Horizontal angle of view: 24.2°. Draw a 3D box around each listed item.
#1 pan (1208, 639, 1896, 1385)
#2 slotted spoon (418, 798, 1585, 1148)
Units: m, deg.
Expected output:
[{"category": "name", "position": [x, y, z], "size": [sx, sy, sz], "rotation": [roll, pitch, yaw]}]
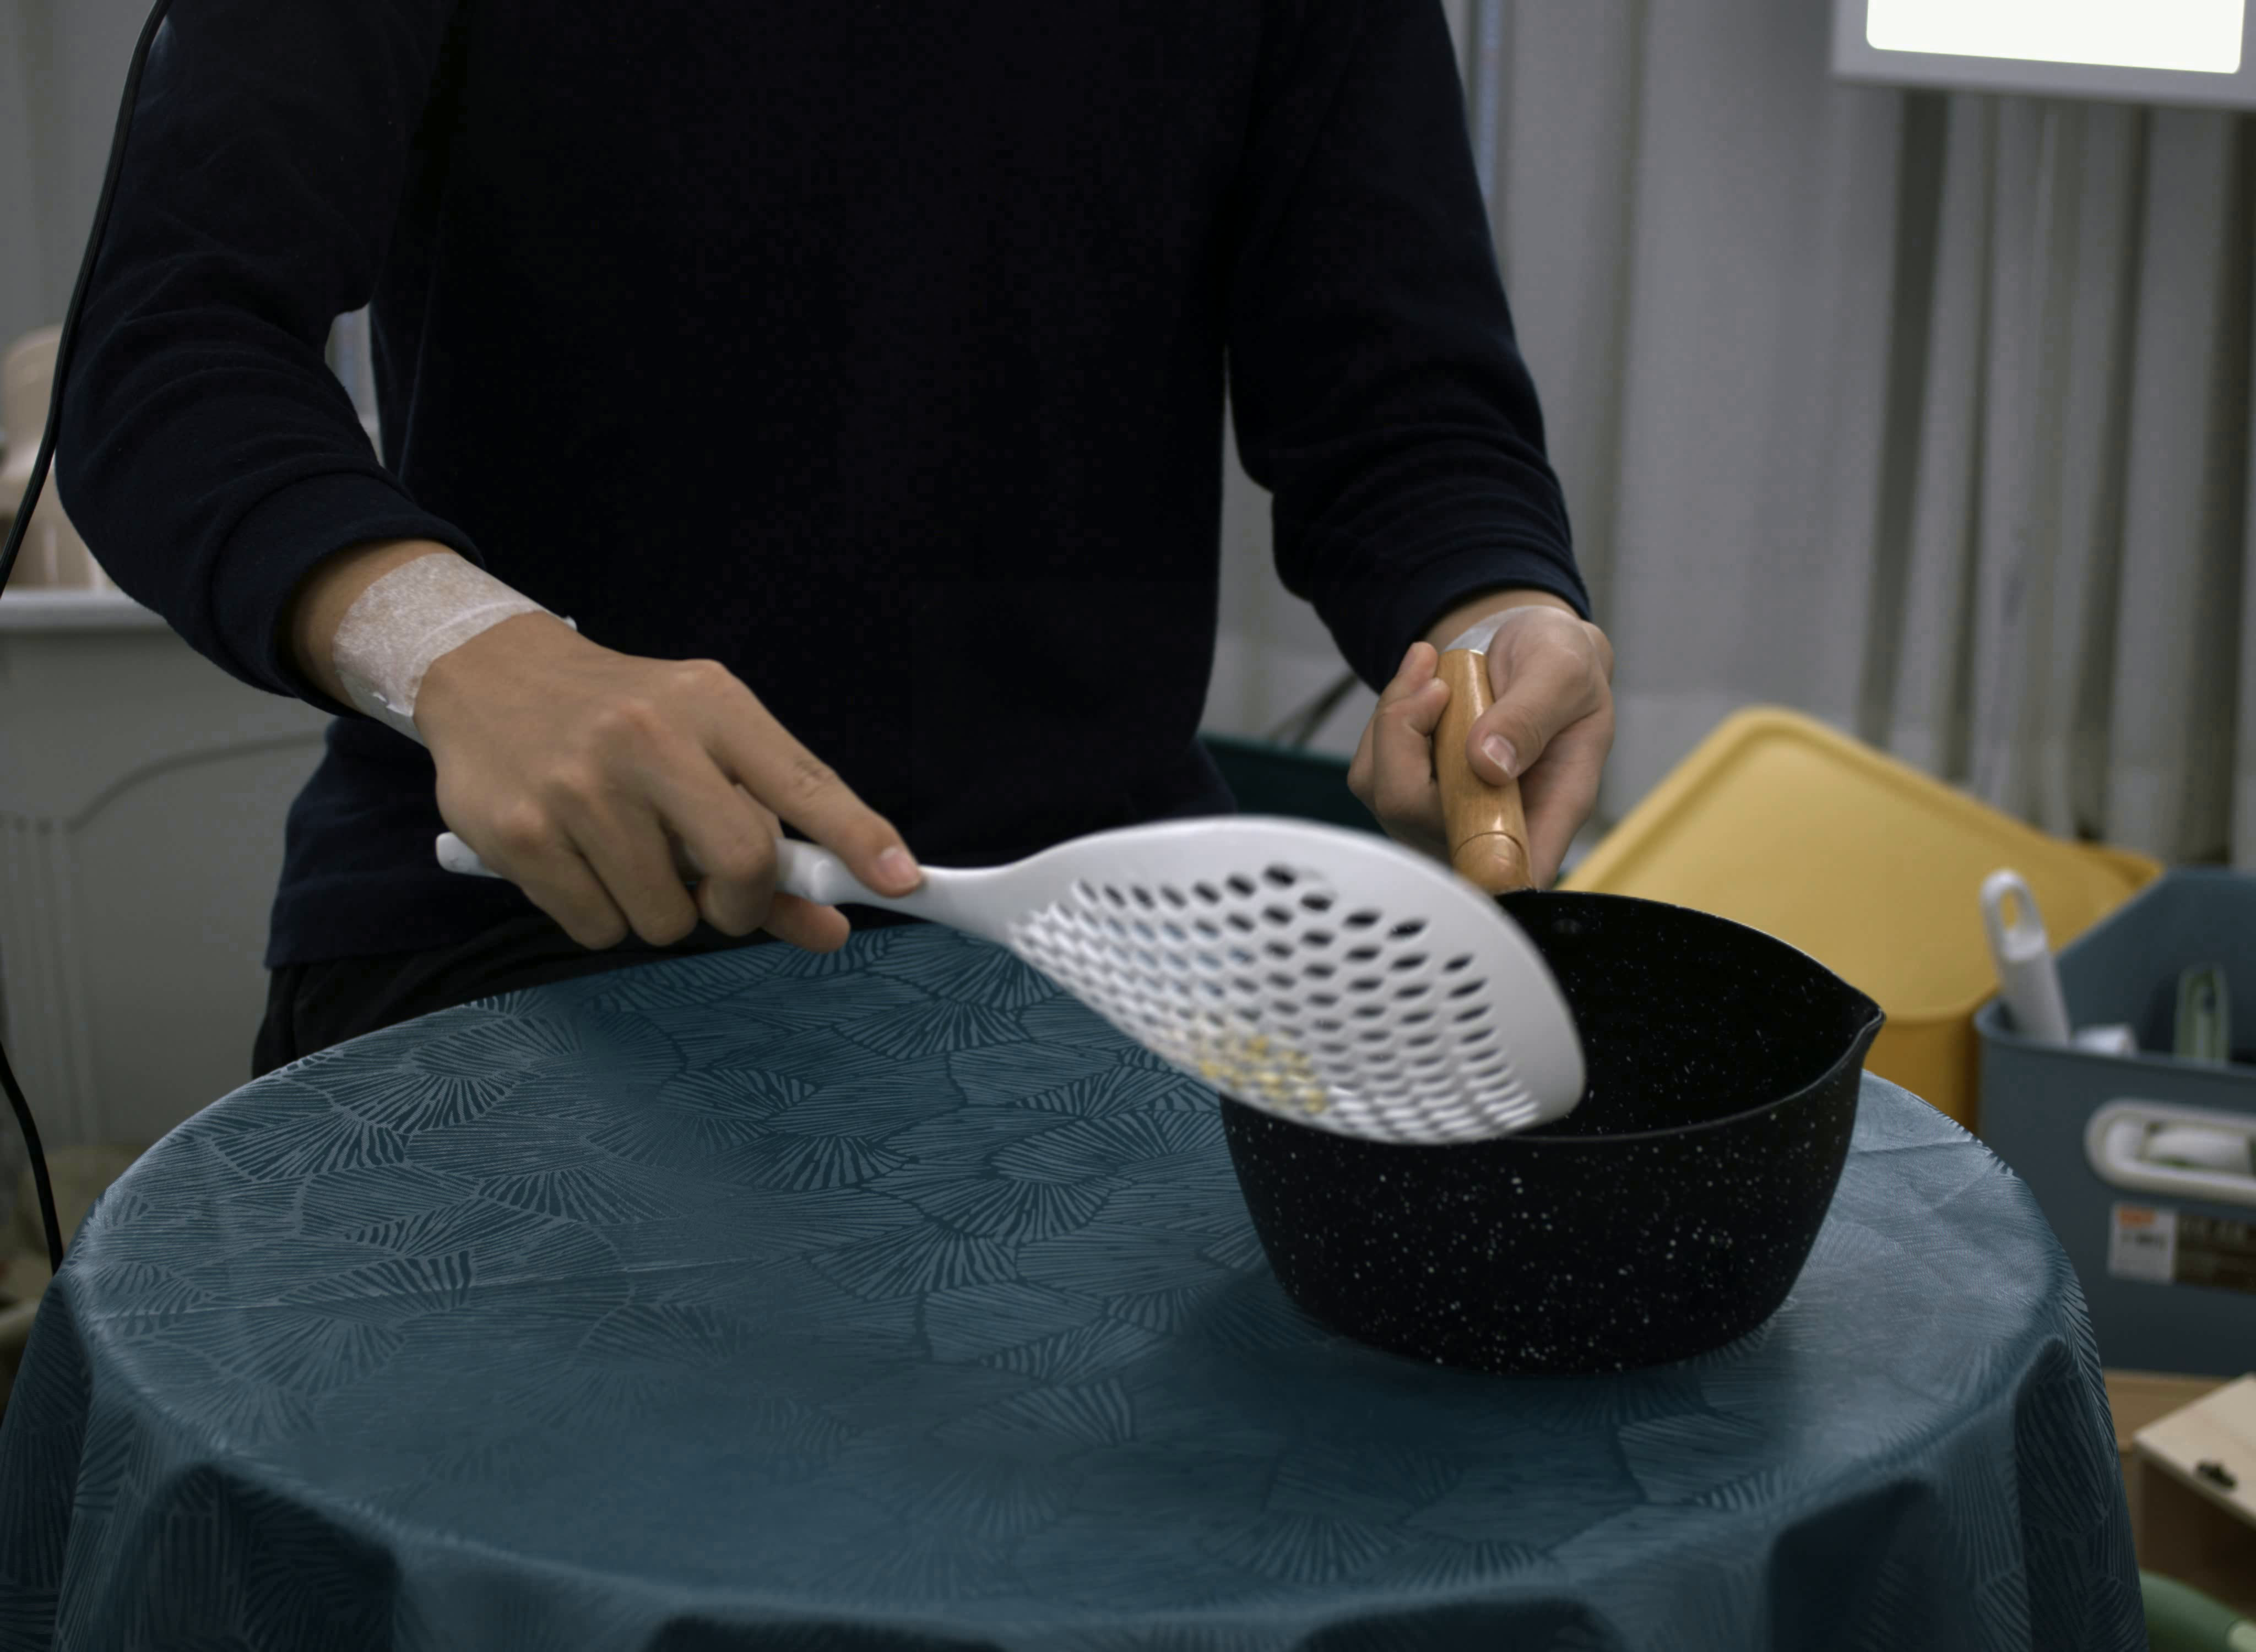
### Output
[{"category": "pan", "position": [0.113, 0.051, 1.594], "size": [0.207, 0.109, 0.340], "rotation": [-2, 23, -3]}, {"category": "slotted spoon", "position": [-0.041, 0.028, 1.429], "size": [0.344, 0.139, 0.050], "rotation": [16, 63, 28]}]
